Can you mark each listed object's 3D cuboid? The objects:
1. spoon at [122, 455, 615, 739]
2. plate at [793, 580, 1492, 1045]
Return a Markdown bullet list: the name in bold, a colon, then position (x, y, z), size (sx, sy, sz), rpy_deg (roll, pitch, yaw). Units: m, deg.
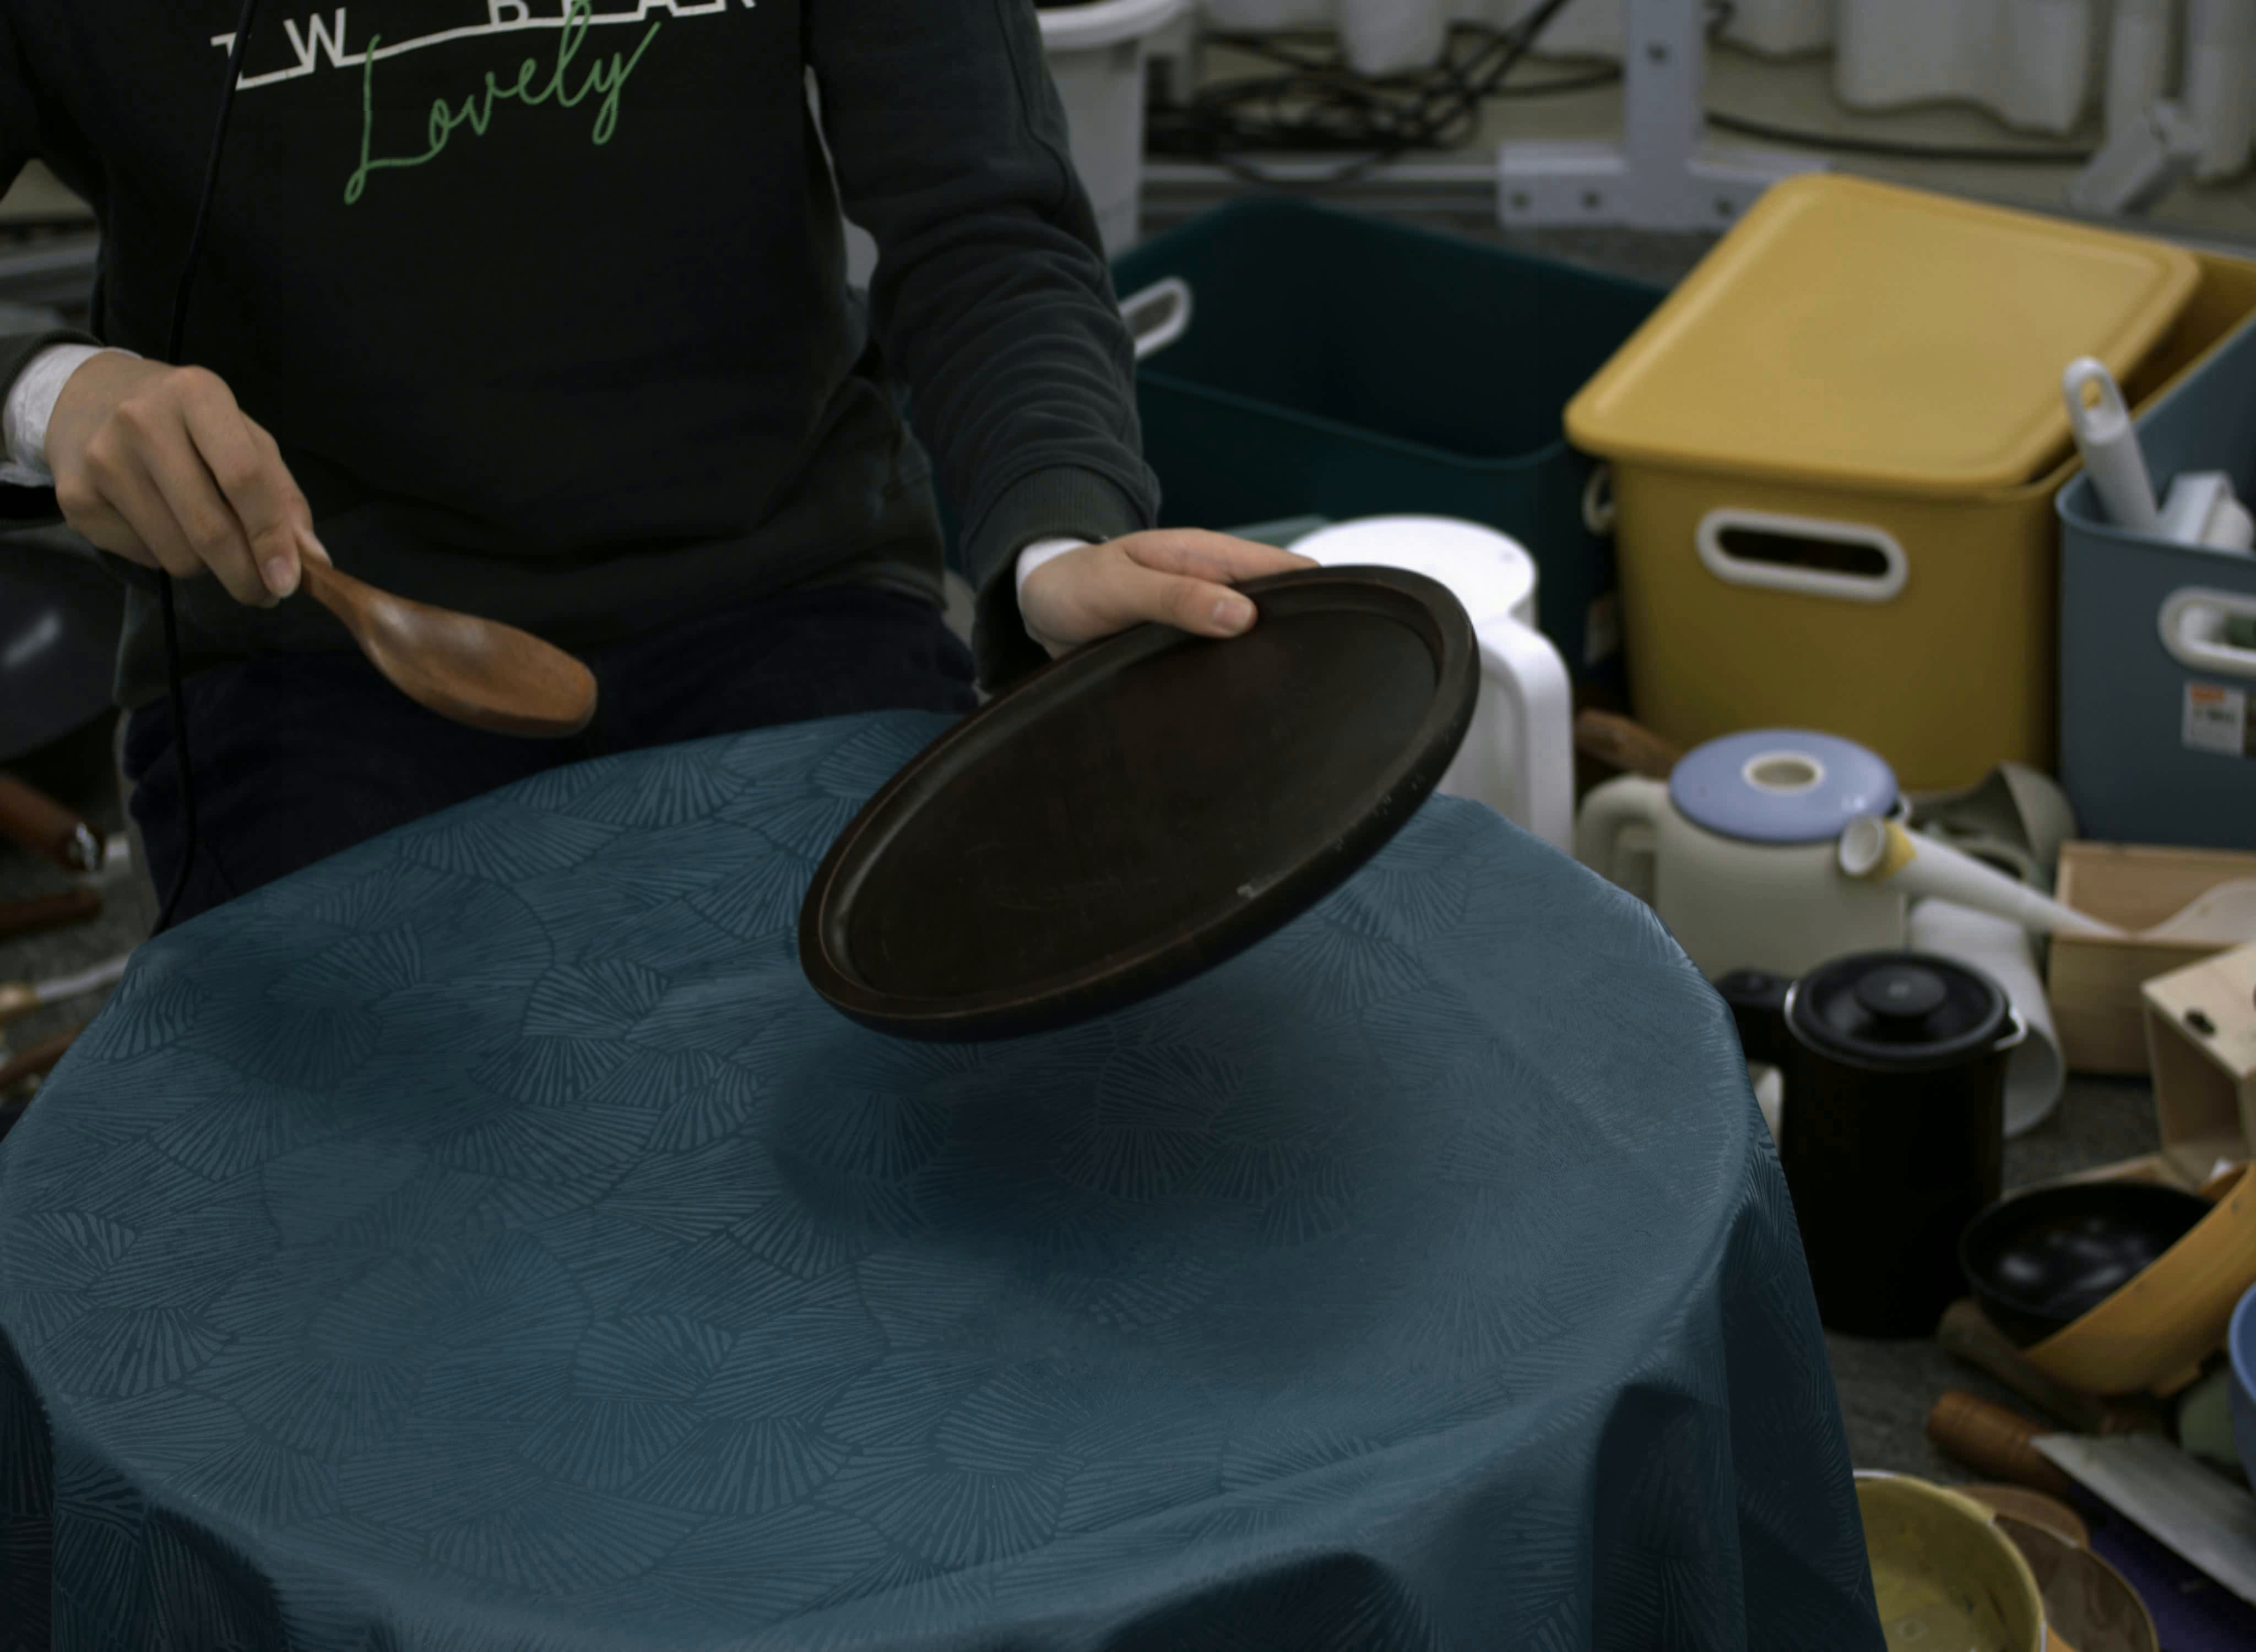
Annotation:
- **spoon**: position (-0.261, -0.075, 1.898), size (0.216, 0.017, 0.076), rpy_deg (30, 25, 29)
- **plate**: position (0.007, -0.006, 1.877), size (0.253, 0.029, 0.258), rpy_deg (-22, 25, 11)
